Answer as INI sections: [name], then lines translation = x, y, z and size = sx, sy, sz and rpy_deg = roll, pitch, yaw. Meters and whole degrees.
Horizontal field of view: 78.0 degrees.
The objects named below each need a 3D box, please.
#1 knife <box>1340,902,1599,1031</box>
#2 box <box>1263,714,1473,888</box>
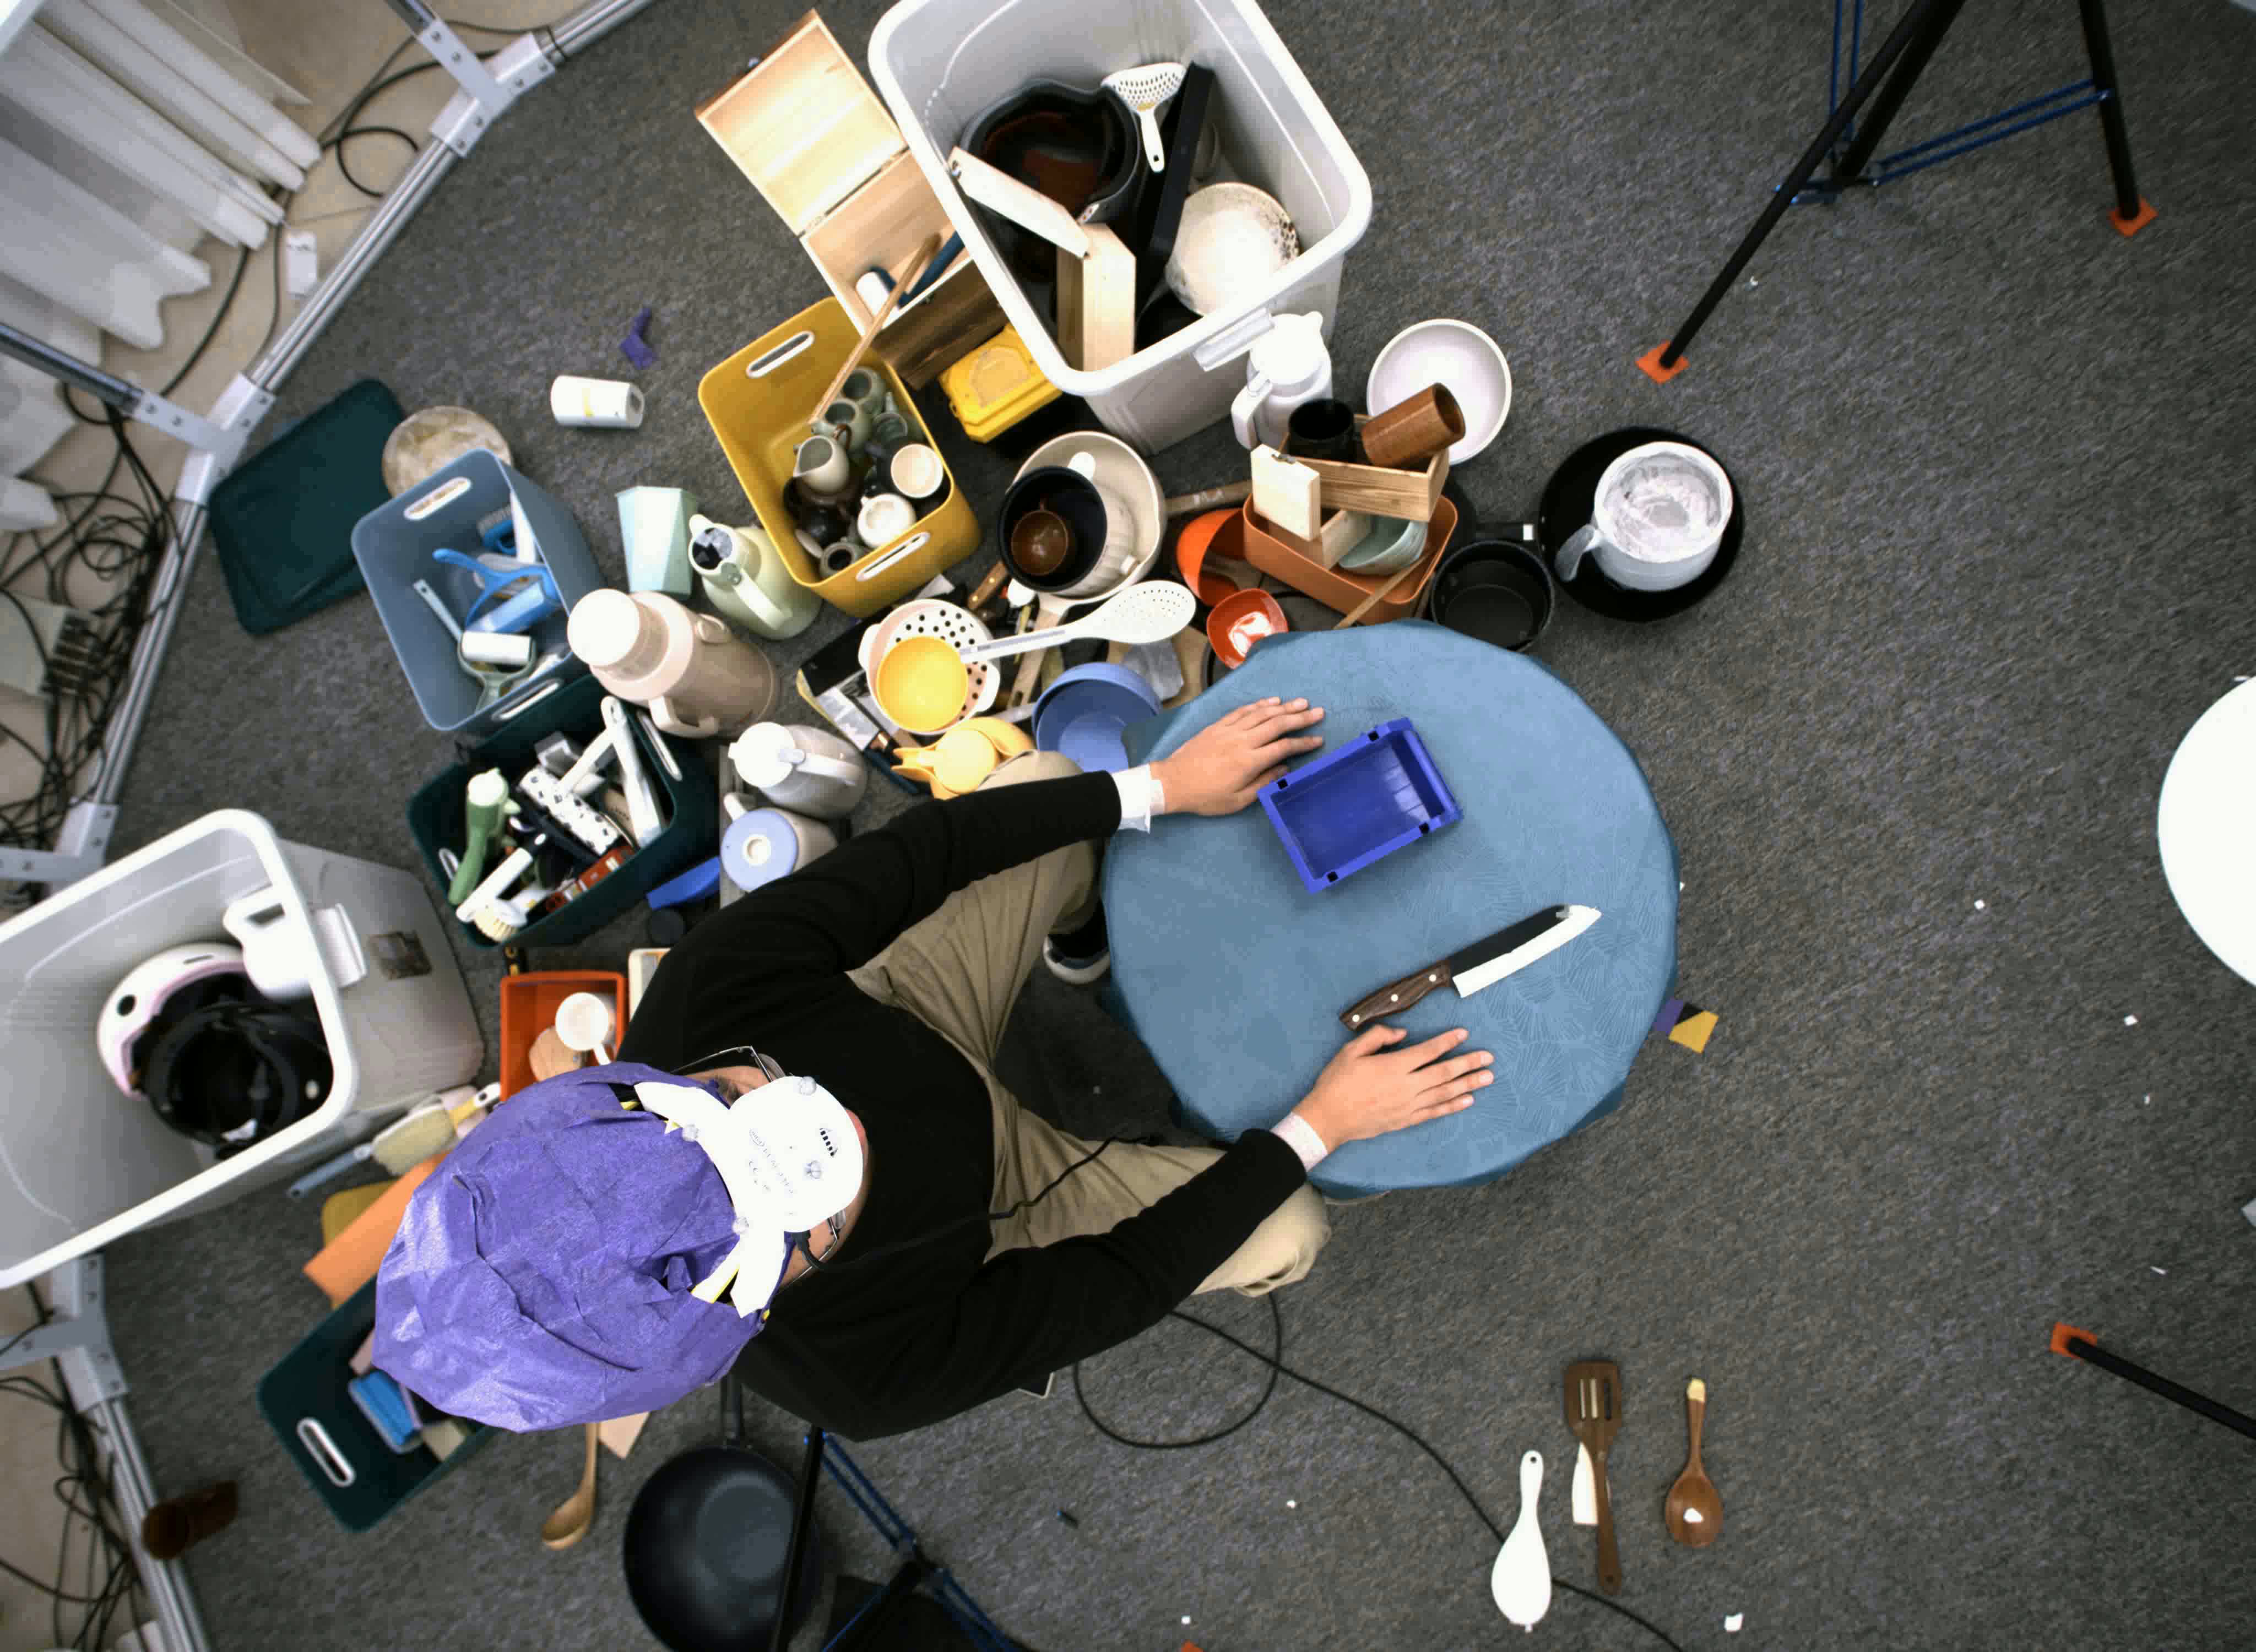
[knife]
translation = 0.355, 0.144, 1.433
size = 0.290, 0.020, 0.050
rpy_deg = -25, 87, 6
[box]
translation = 0.249, -0.029, 1.428
size = 0.180, 0.082, 0.123
rpy_deg = -27, 81, 10
